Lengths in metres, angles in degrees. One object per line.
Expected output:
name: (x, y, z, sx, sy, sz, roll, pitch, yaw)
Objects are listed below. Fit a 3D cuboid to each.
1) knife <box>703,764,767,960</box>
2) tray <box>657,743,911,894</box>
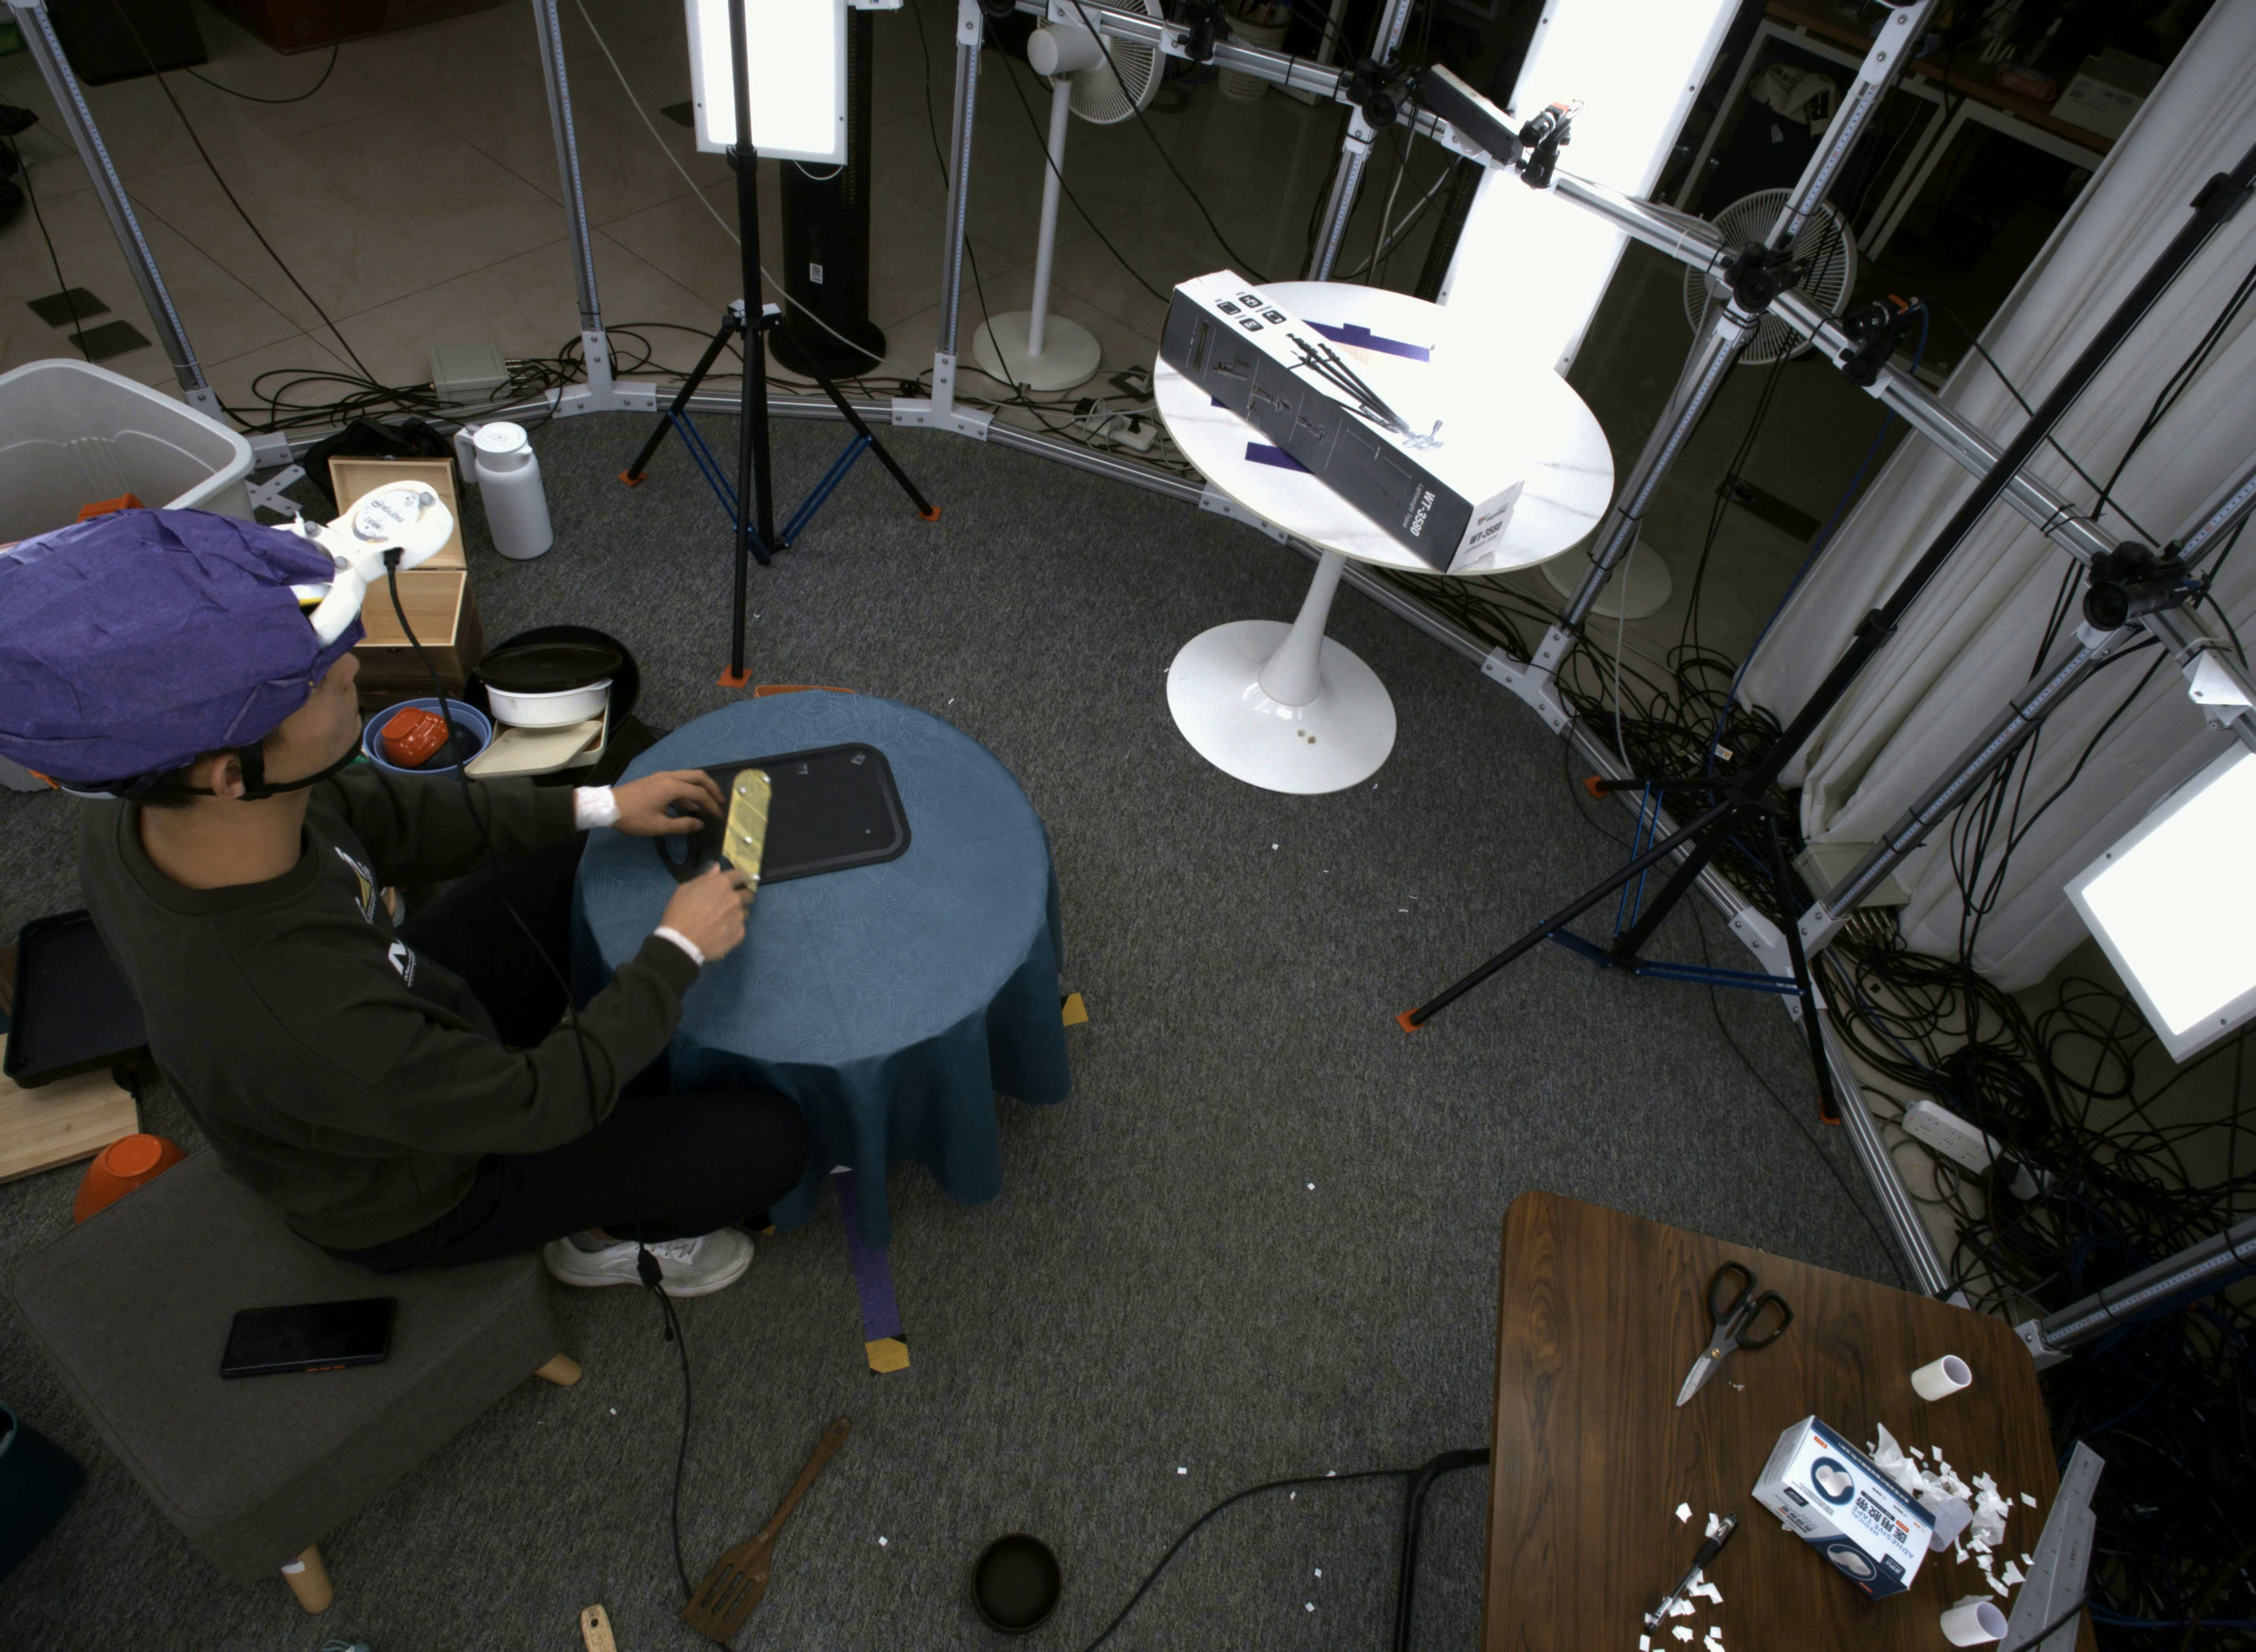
knife: (-0.484, 0.040, 1.606, 0.026, 0.084, 0.285, -12, 54, 19)
tray: (-0.463, -0.015, 1.731, 0.327, 0.010, 0.206, -11, 58, -22)
